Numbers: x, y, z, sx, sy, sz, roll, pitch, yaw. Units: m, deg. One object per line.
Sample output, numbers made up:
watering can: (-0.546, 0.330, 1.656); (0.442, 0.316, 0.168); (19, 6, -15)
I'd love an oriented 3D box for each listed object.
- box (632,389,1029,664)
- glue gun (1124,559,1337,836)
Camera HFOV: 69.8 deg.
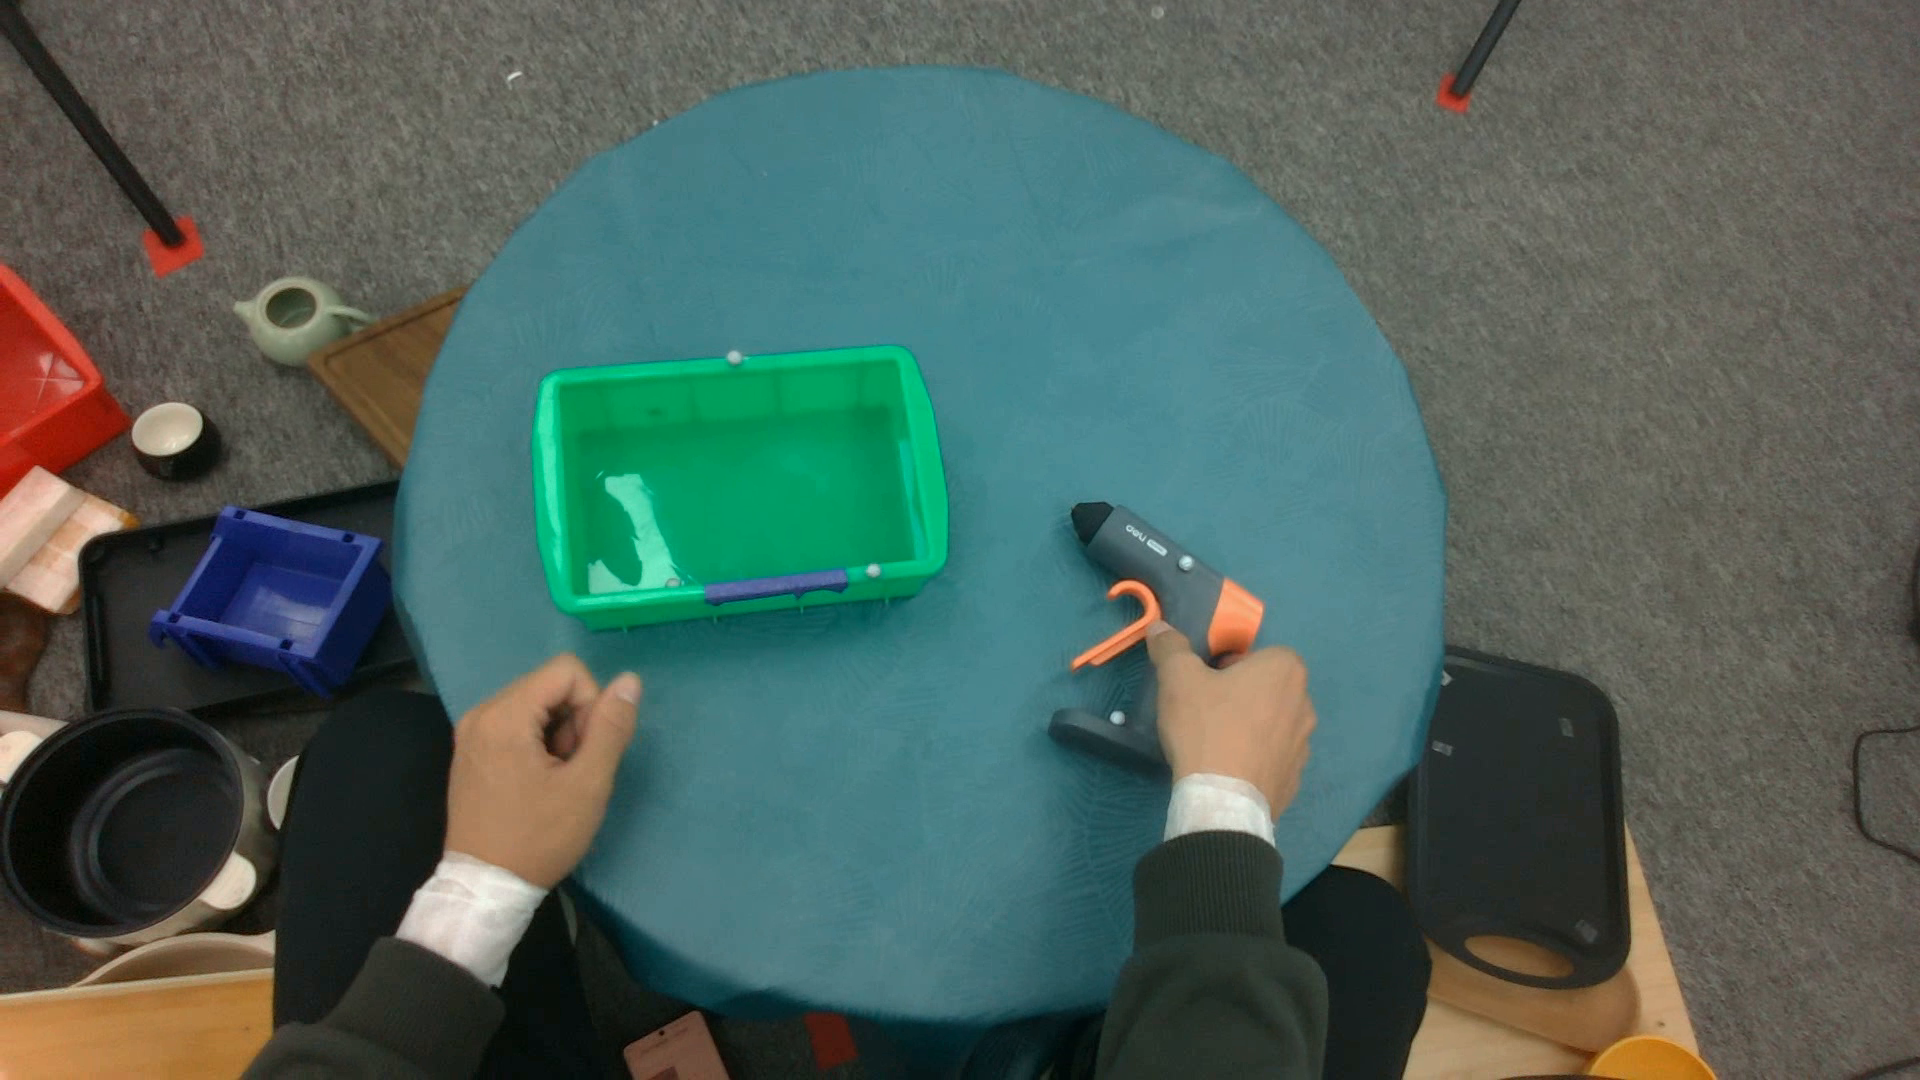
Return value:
box: (-0.072, -0.004, 0.767); (0.210, 0.065, 0.139); (-5, 67, -8)
glue gun: (0.140, 0.083, 0.761); (0.118, 0.041, 0.140); (18, 63, 9)
